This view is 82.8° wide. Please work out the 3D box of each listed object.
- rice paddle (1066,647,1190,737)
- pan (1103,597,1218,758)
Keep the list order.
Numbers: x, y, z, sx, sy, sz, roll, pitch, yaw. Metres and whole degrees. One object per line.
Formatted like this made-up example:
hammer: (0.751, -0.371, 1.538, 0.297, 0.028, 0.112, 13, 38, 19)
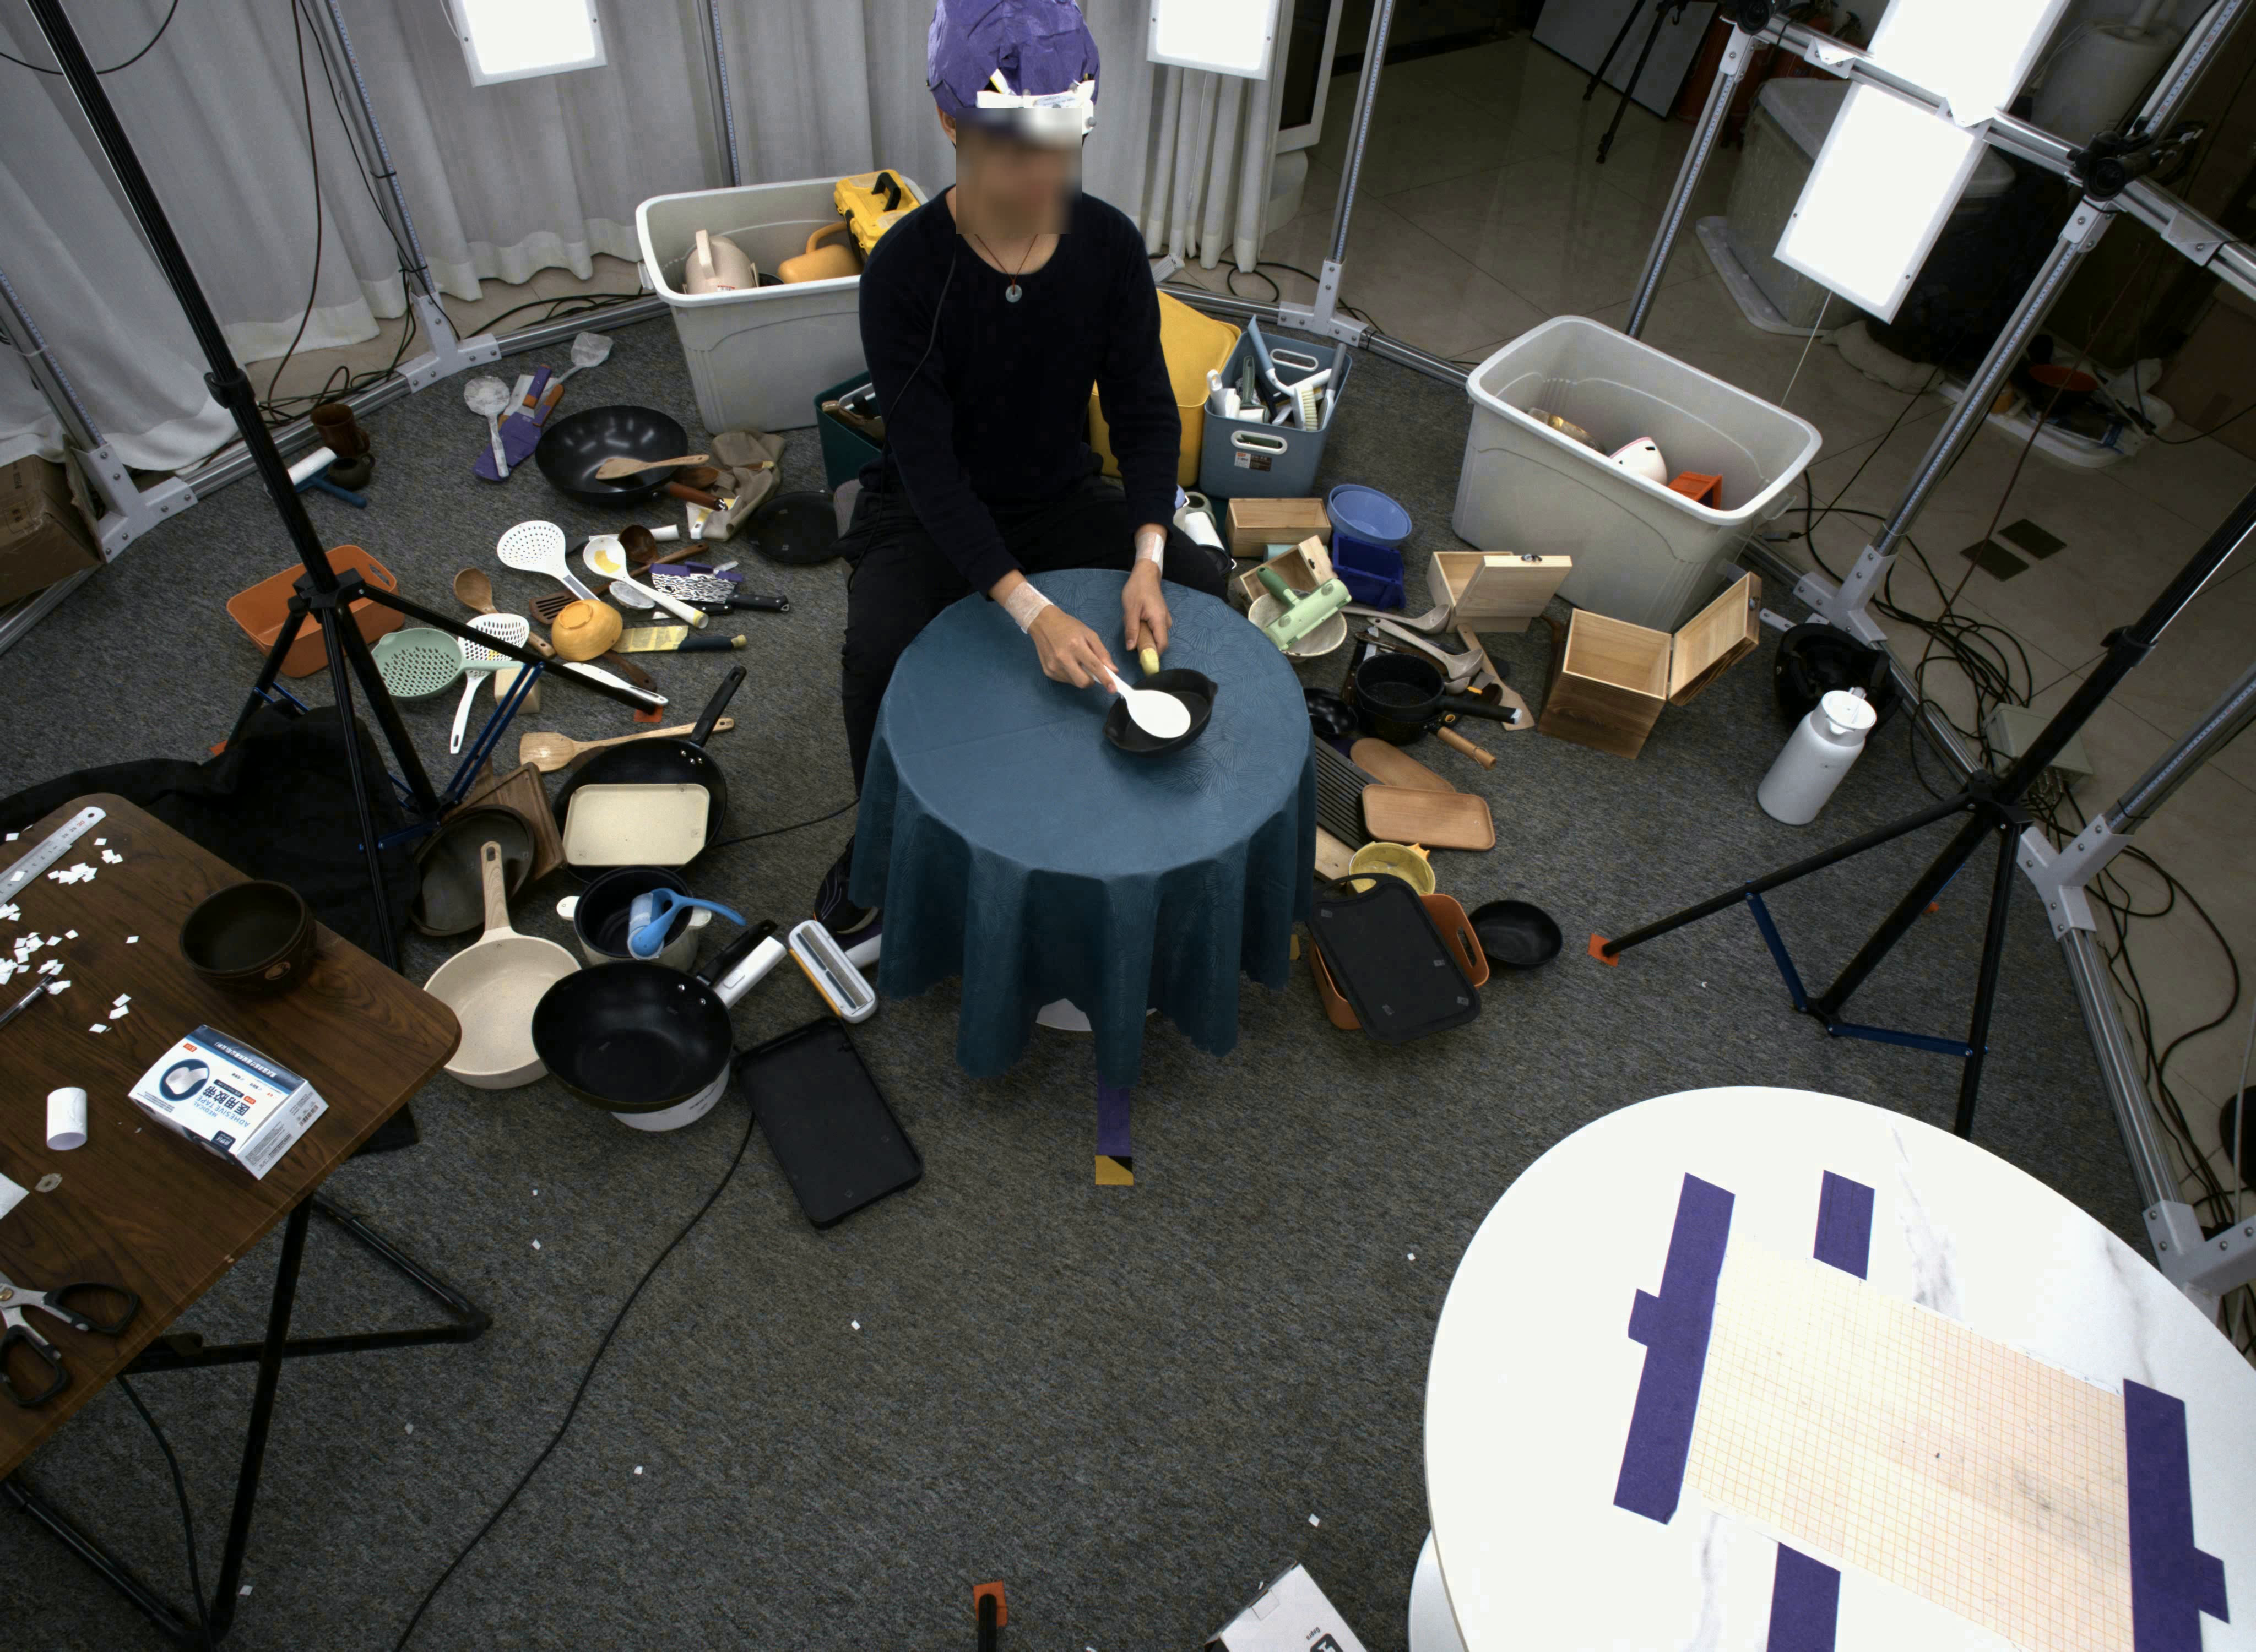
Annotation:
rice paddle: (0.000, -0.185, 1.766, 0.208, 0.029, 0.069, 35, 65, 23)
pan: (0.038, -0.213, 1.807, 0.168, 0.048, 0.332, -20, 43, 11)
